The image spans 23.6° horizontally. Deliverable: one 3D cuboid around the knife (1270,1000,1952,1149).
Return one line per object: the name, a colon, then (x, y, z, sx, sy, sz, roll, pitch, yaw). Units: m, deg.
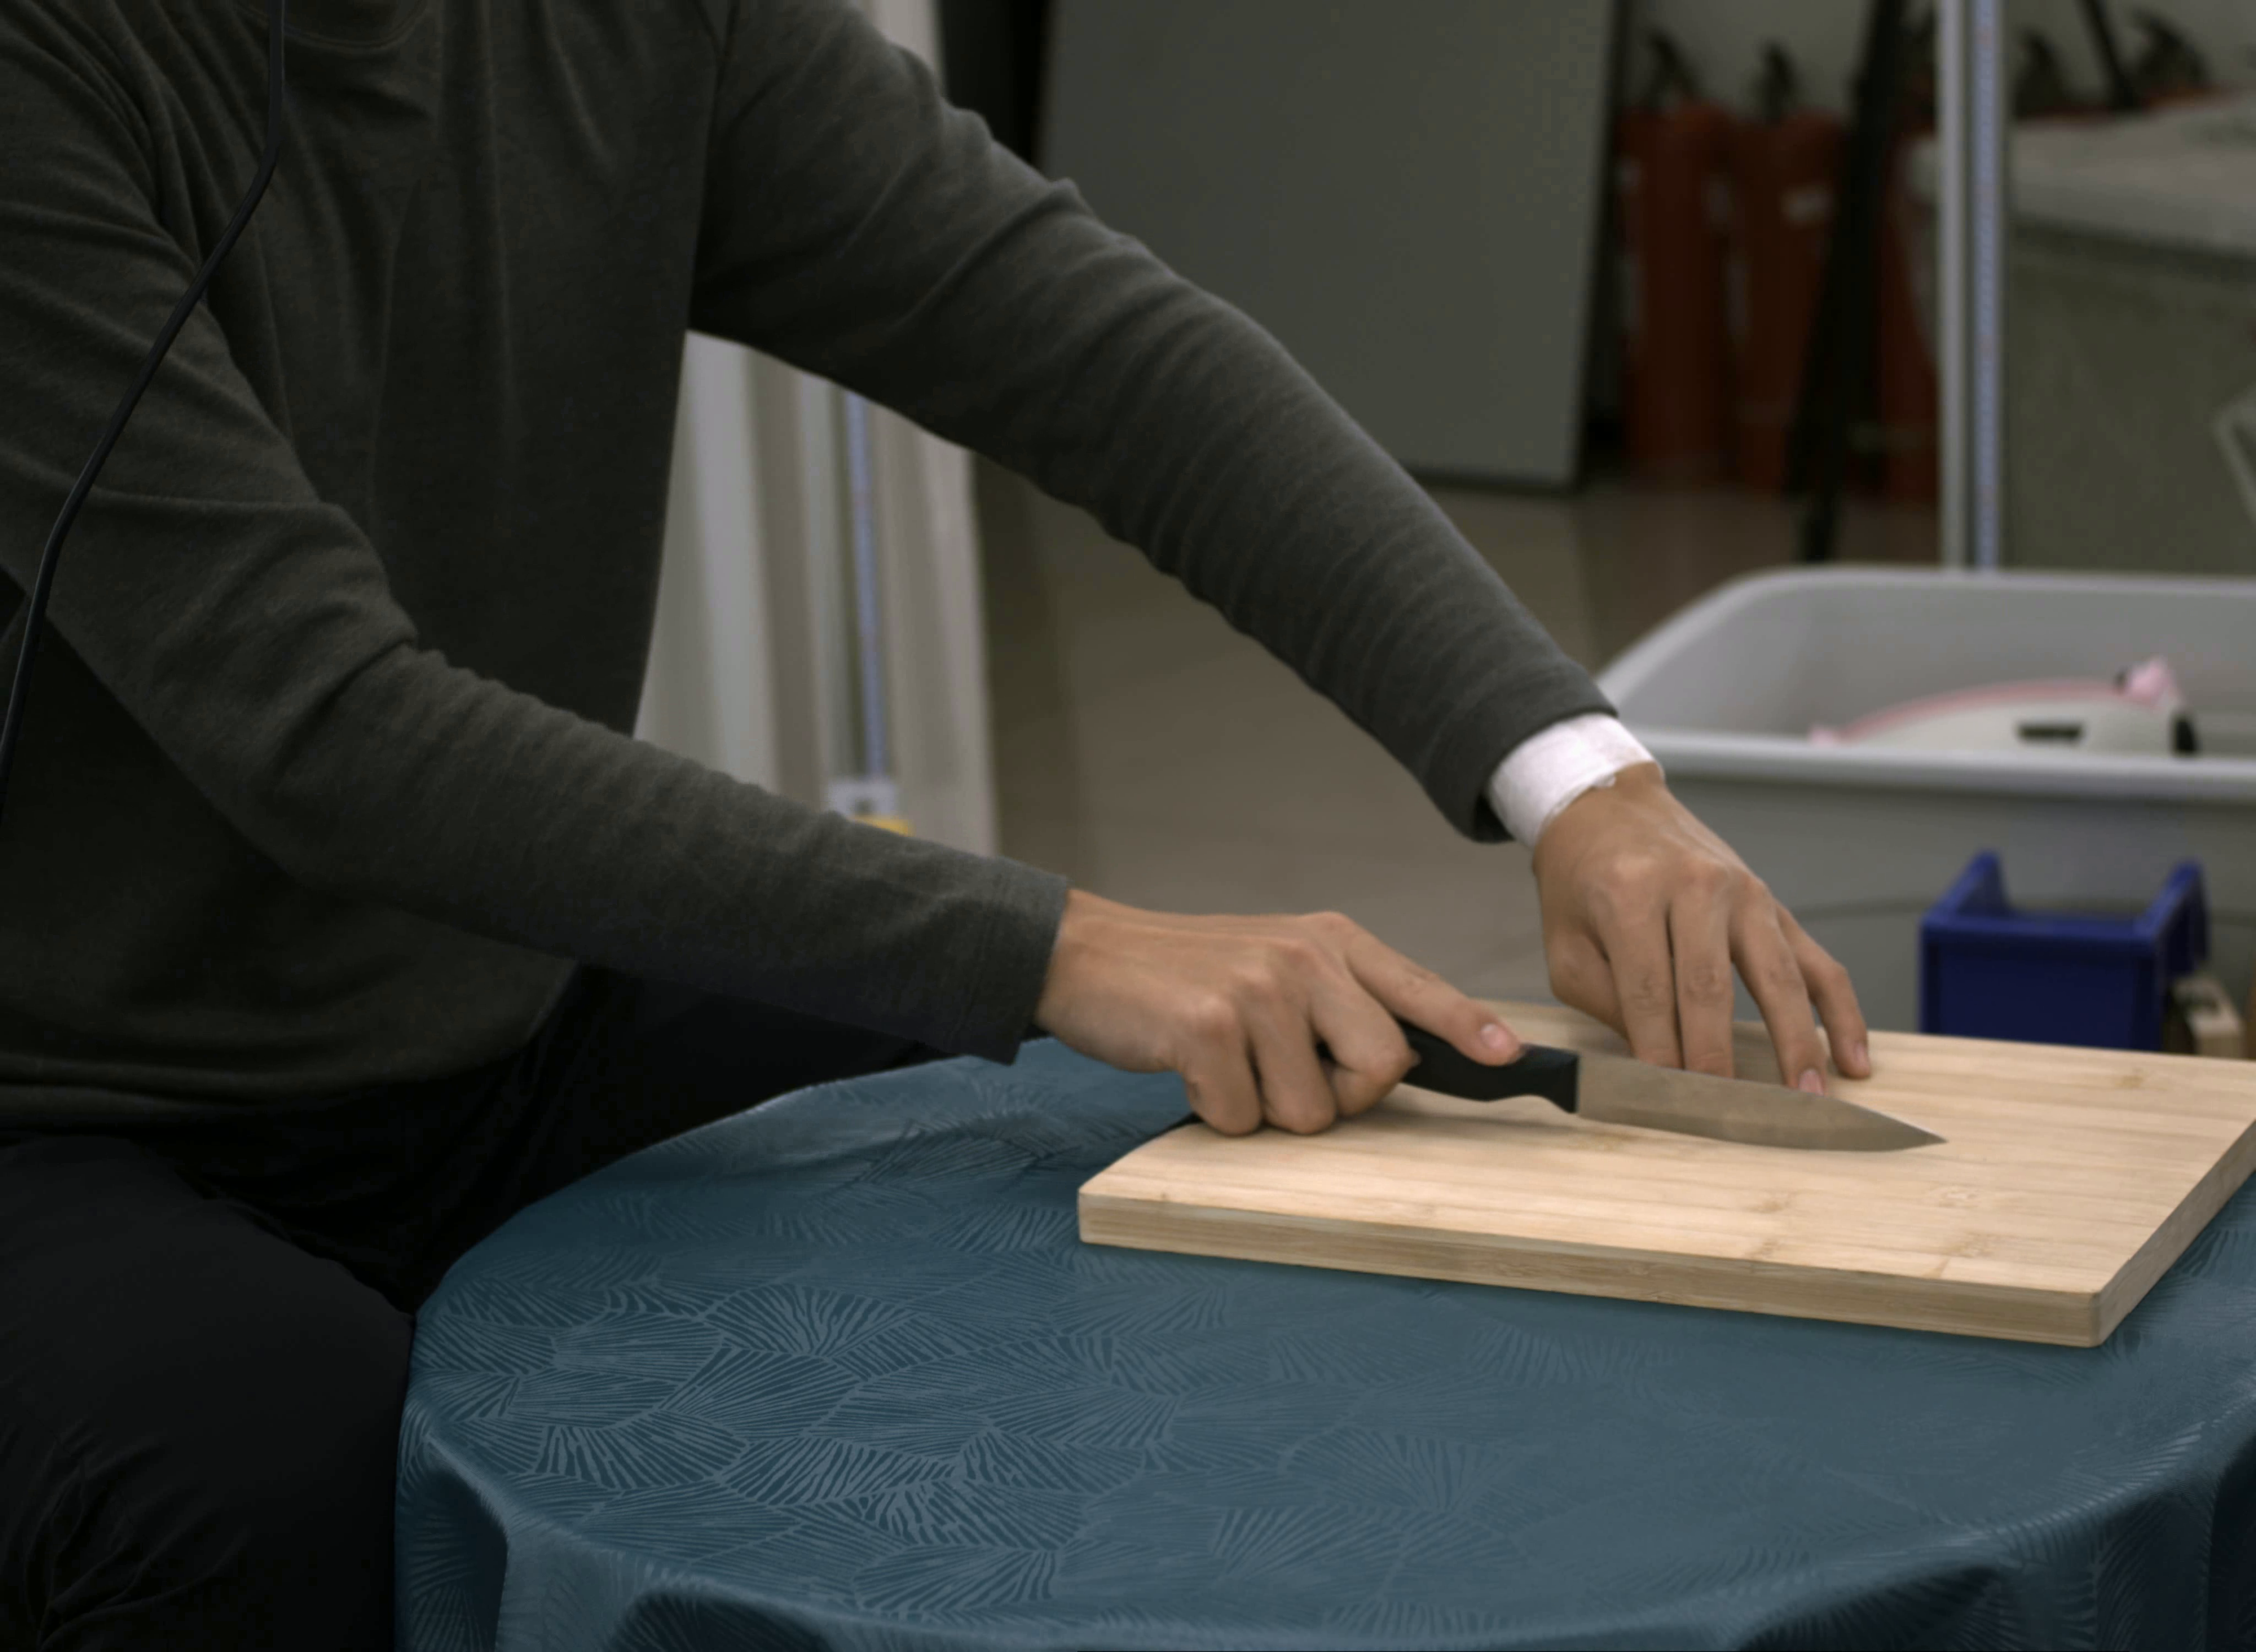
knife: (0.155, 0.082, 1.739, 0.238, 0.025, 0.016, 10, 13, 26)

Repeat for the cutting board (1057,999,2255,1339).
cutting board: (0.181, 0.107, 1.748, 0.349, 0.024, 0.247, 3, 14, 27)
